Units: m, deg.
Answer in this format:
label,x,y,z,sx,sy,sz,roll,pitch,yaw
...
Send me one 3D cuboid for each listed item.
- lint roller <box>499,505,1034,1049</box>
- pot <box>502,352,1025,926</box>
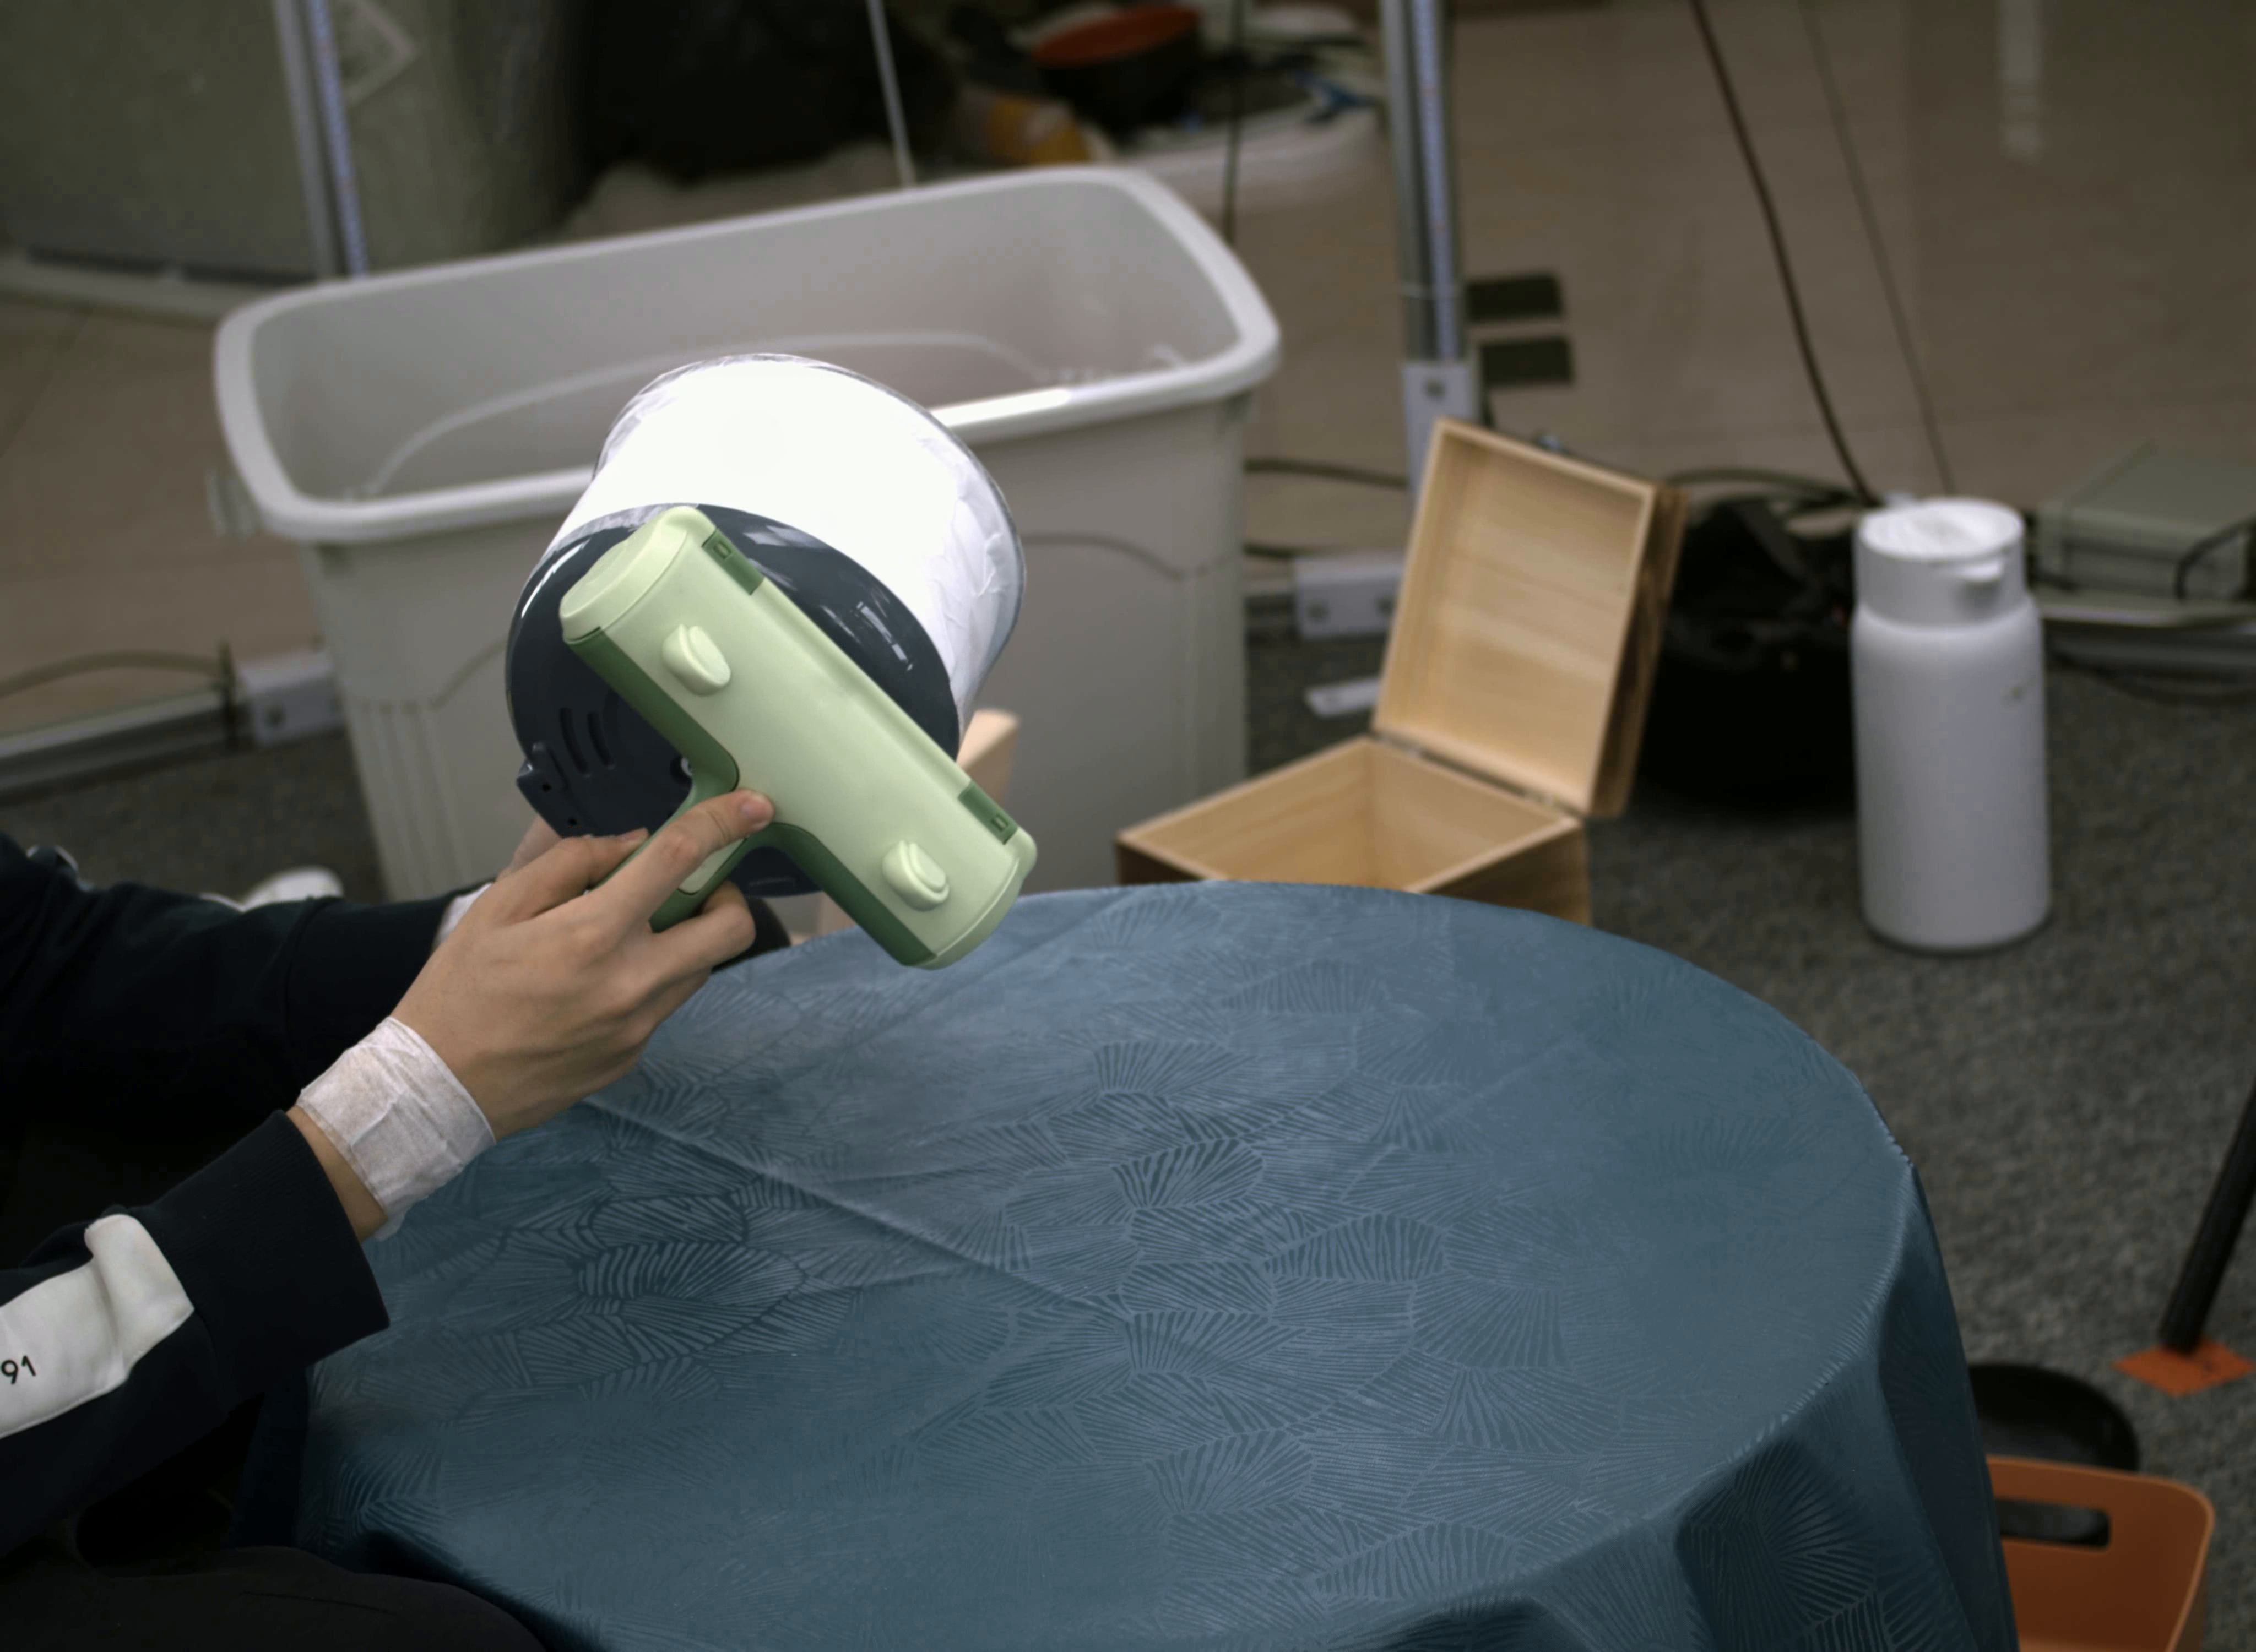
label,x,y,z,sx,sy,sz,roll,pitch,yaw
lint roller,-0.154,0.013,2.041,0.182,0.200,0.082,-49,21,-11
pot,-0.153,-0.055,2.172,0.179,0.237,0.134,29,44,-7
